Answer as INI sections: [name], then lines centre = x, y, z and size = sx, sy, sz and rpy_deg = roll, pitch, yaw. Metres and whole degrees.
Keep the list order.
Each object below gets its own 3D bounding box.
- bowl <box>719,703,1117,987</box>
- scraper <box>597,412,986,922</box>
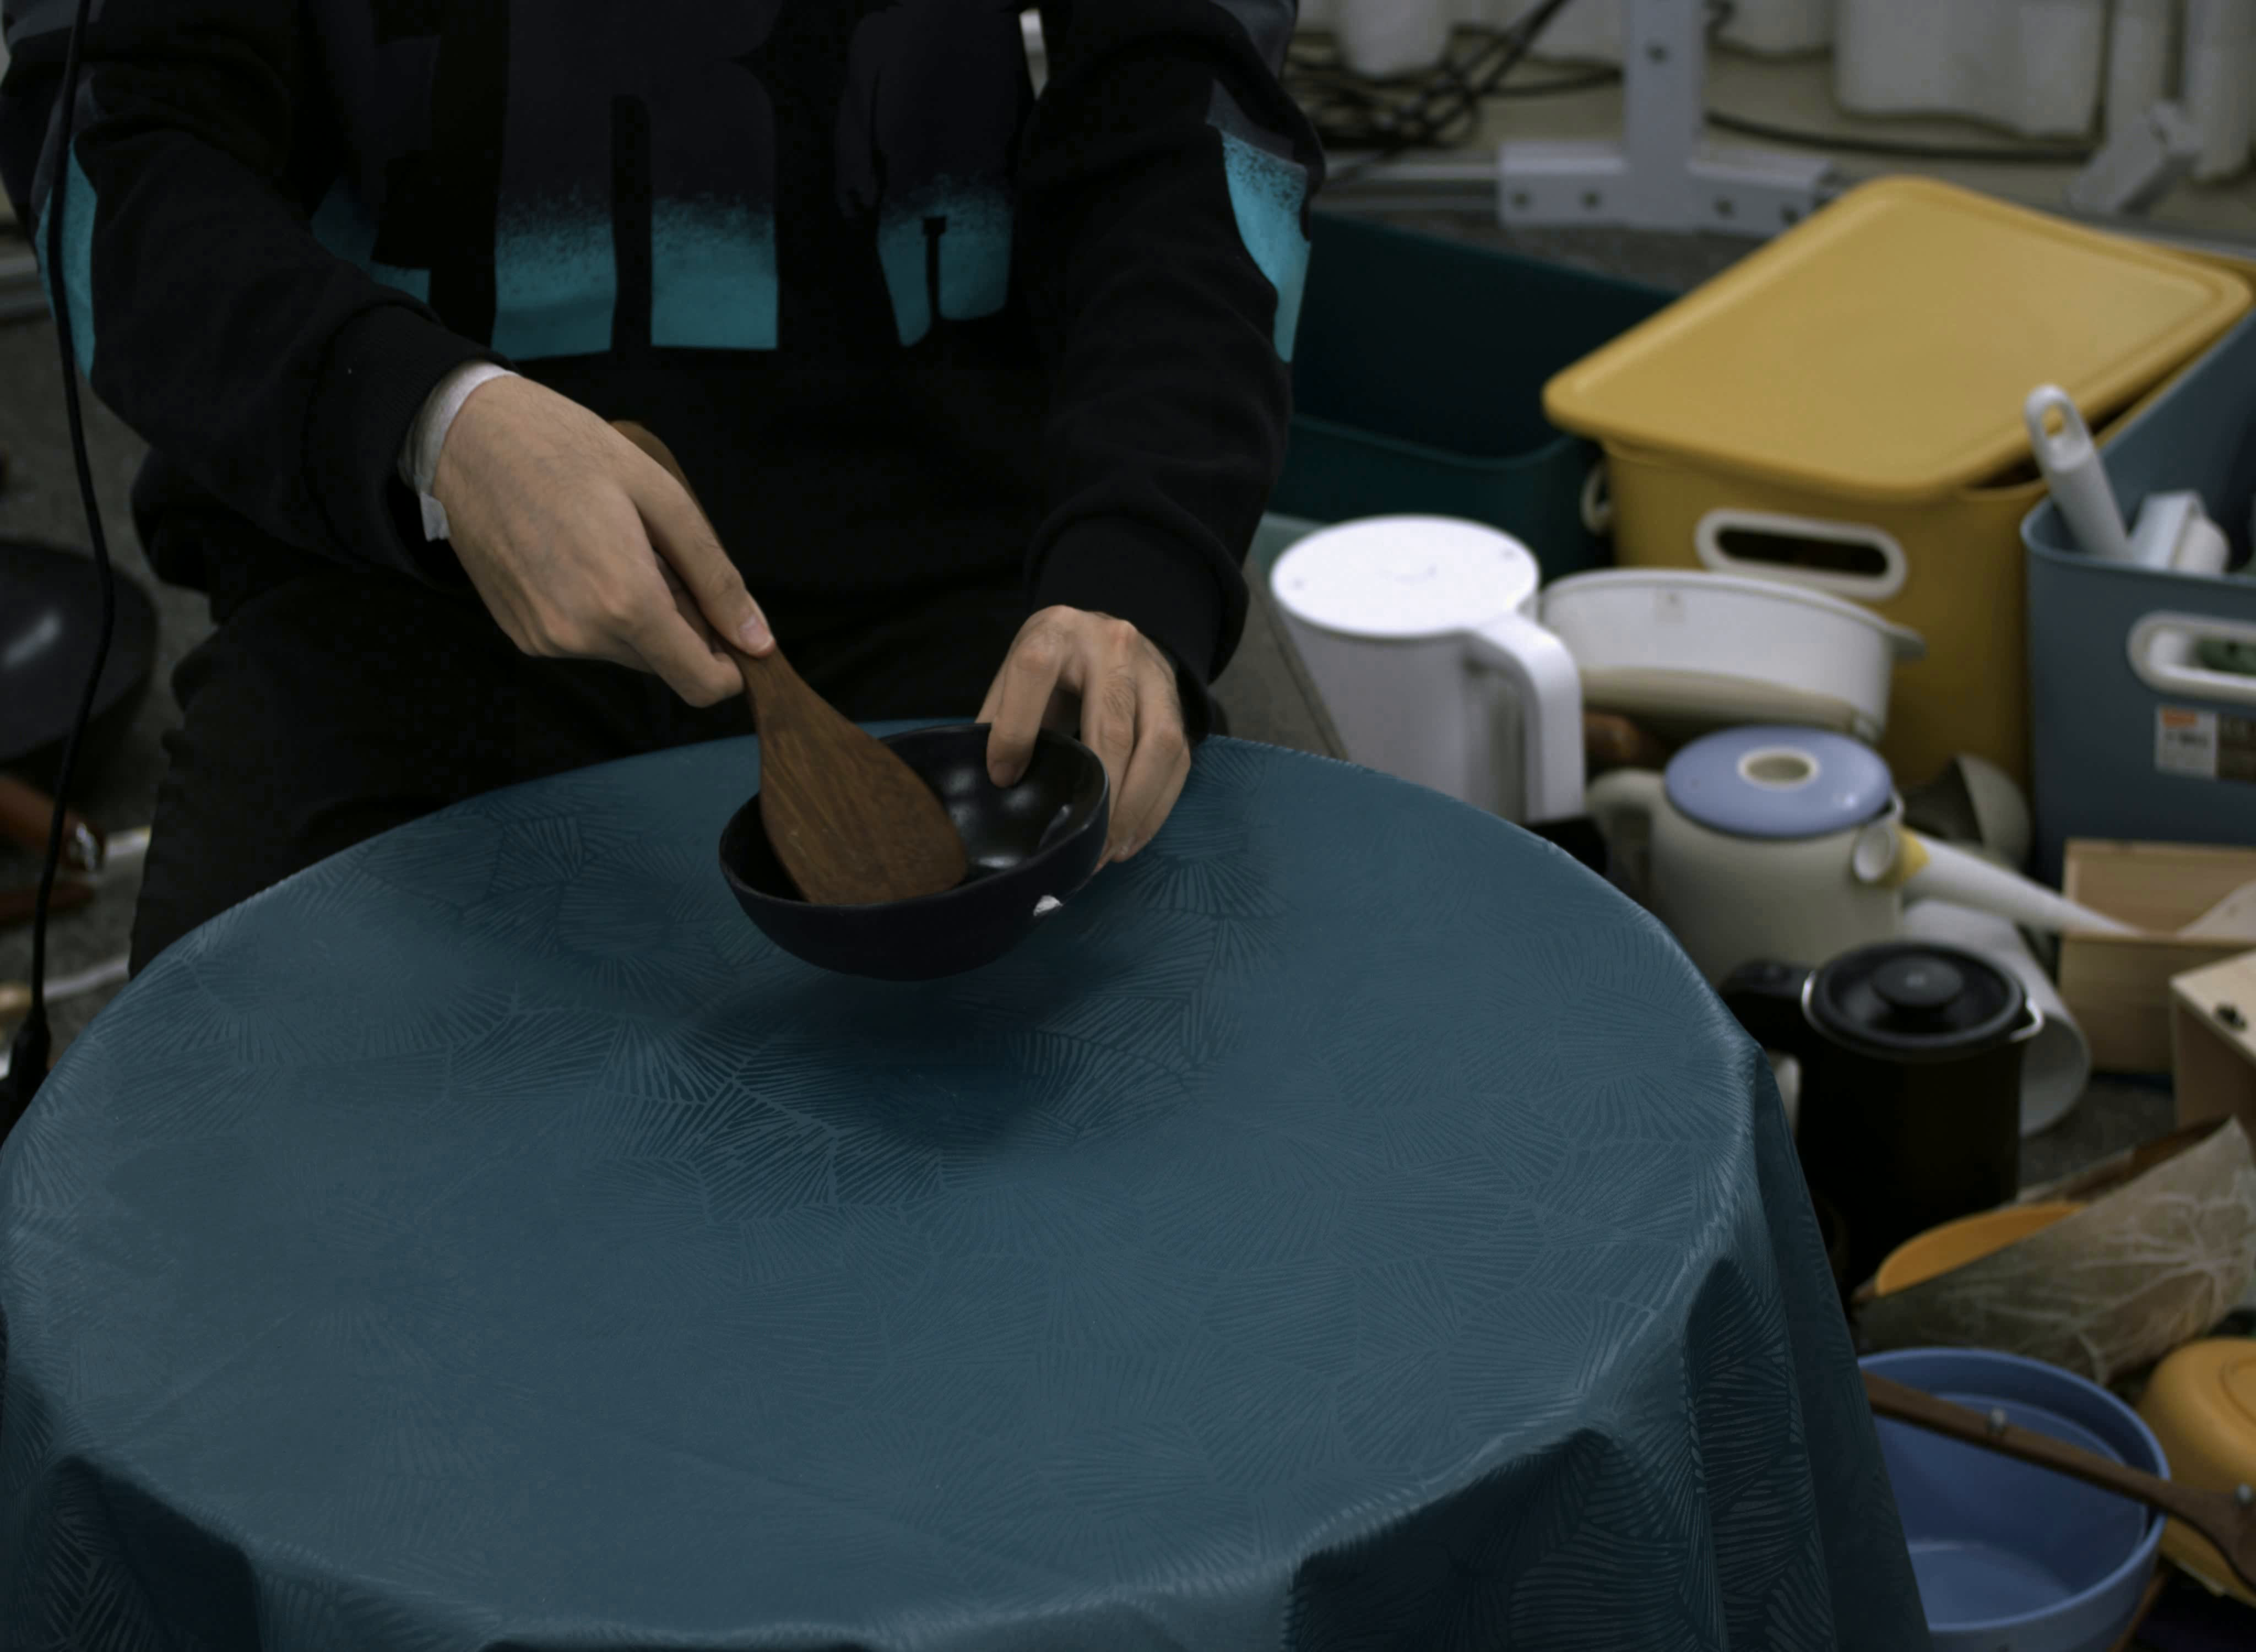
[bowl]
centre = -0.070, 0.015, 1.947
size = 0.139, 0.049, 0.142
rpy_deg = -5, 32, 4
[scraper]
centre = -0.128, -0.057, 1.988
size = 0.076, 0.010, 0.212
rpy_deg = -22, 75, -38
